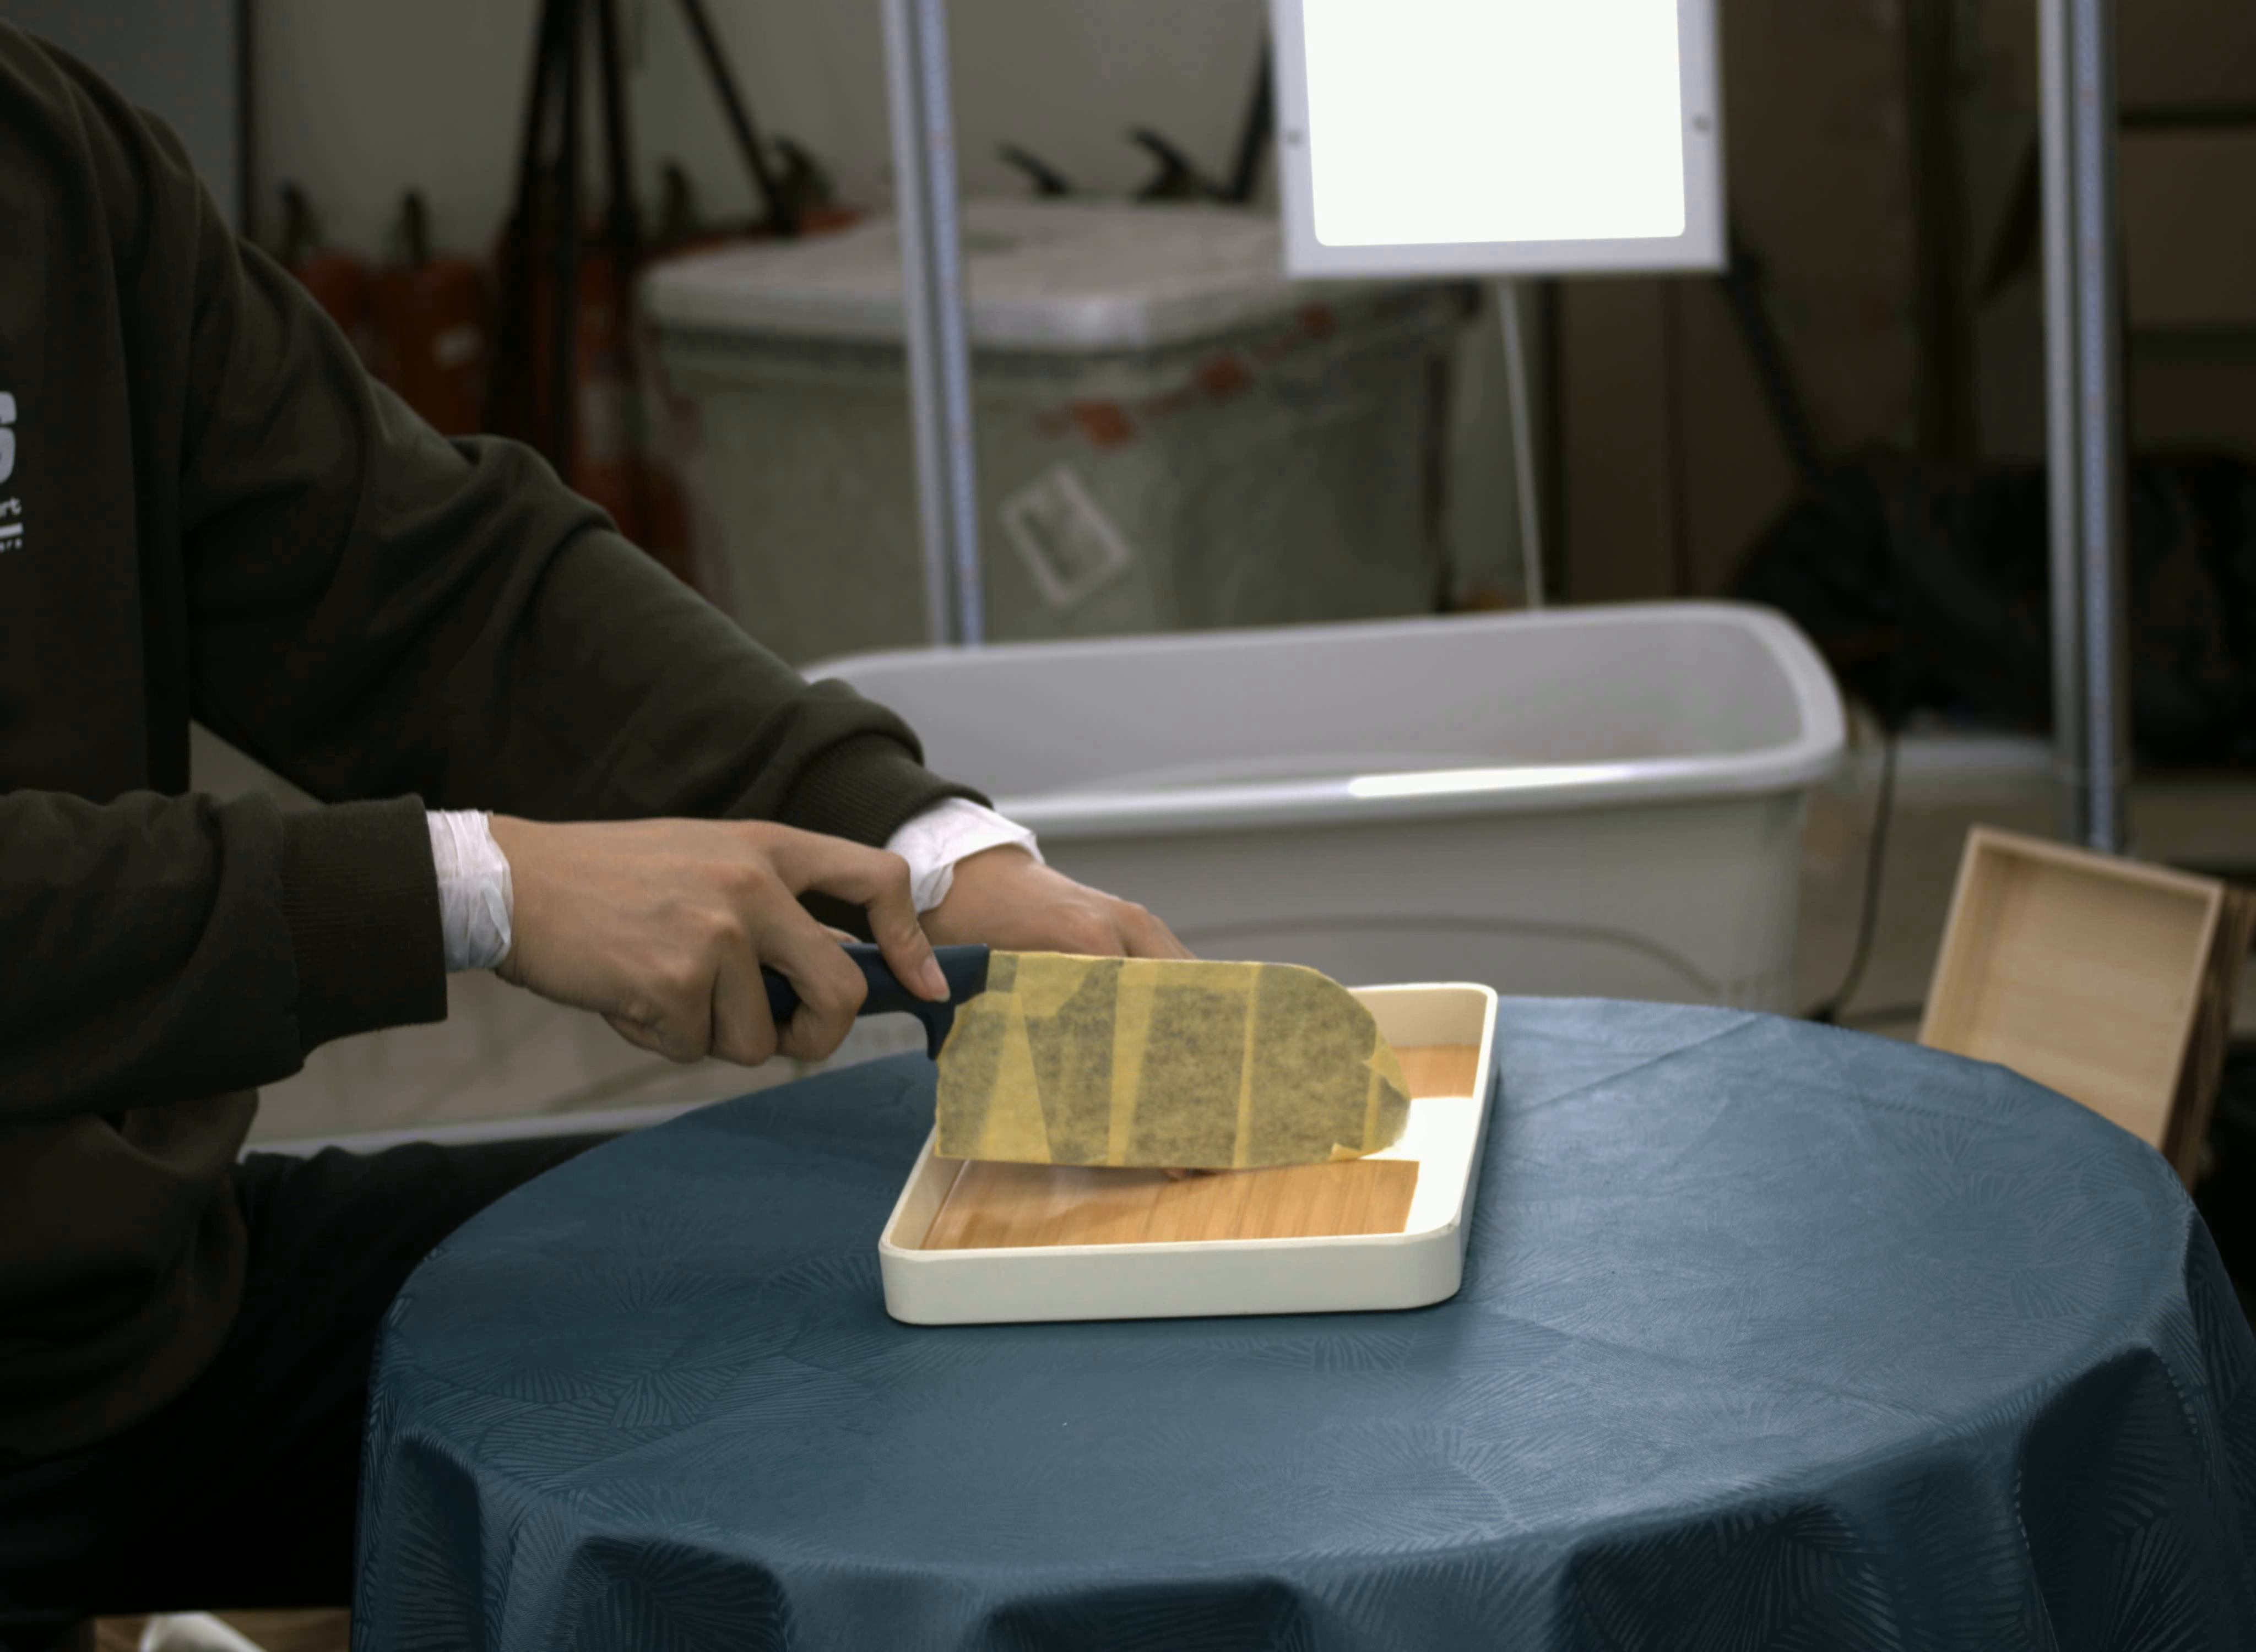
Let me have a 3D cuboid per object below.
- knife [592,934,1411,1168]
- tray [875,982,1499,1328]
[{"bbox_3d":[-0.041,0.075,1.870,0.286,0.081,0.027,6,4,-10],"label":"knife"},{"bbox_3d":[0.027,0.110,1.904,0.192,0.027,0.297,-4,13,9],"label":"tray"}]
